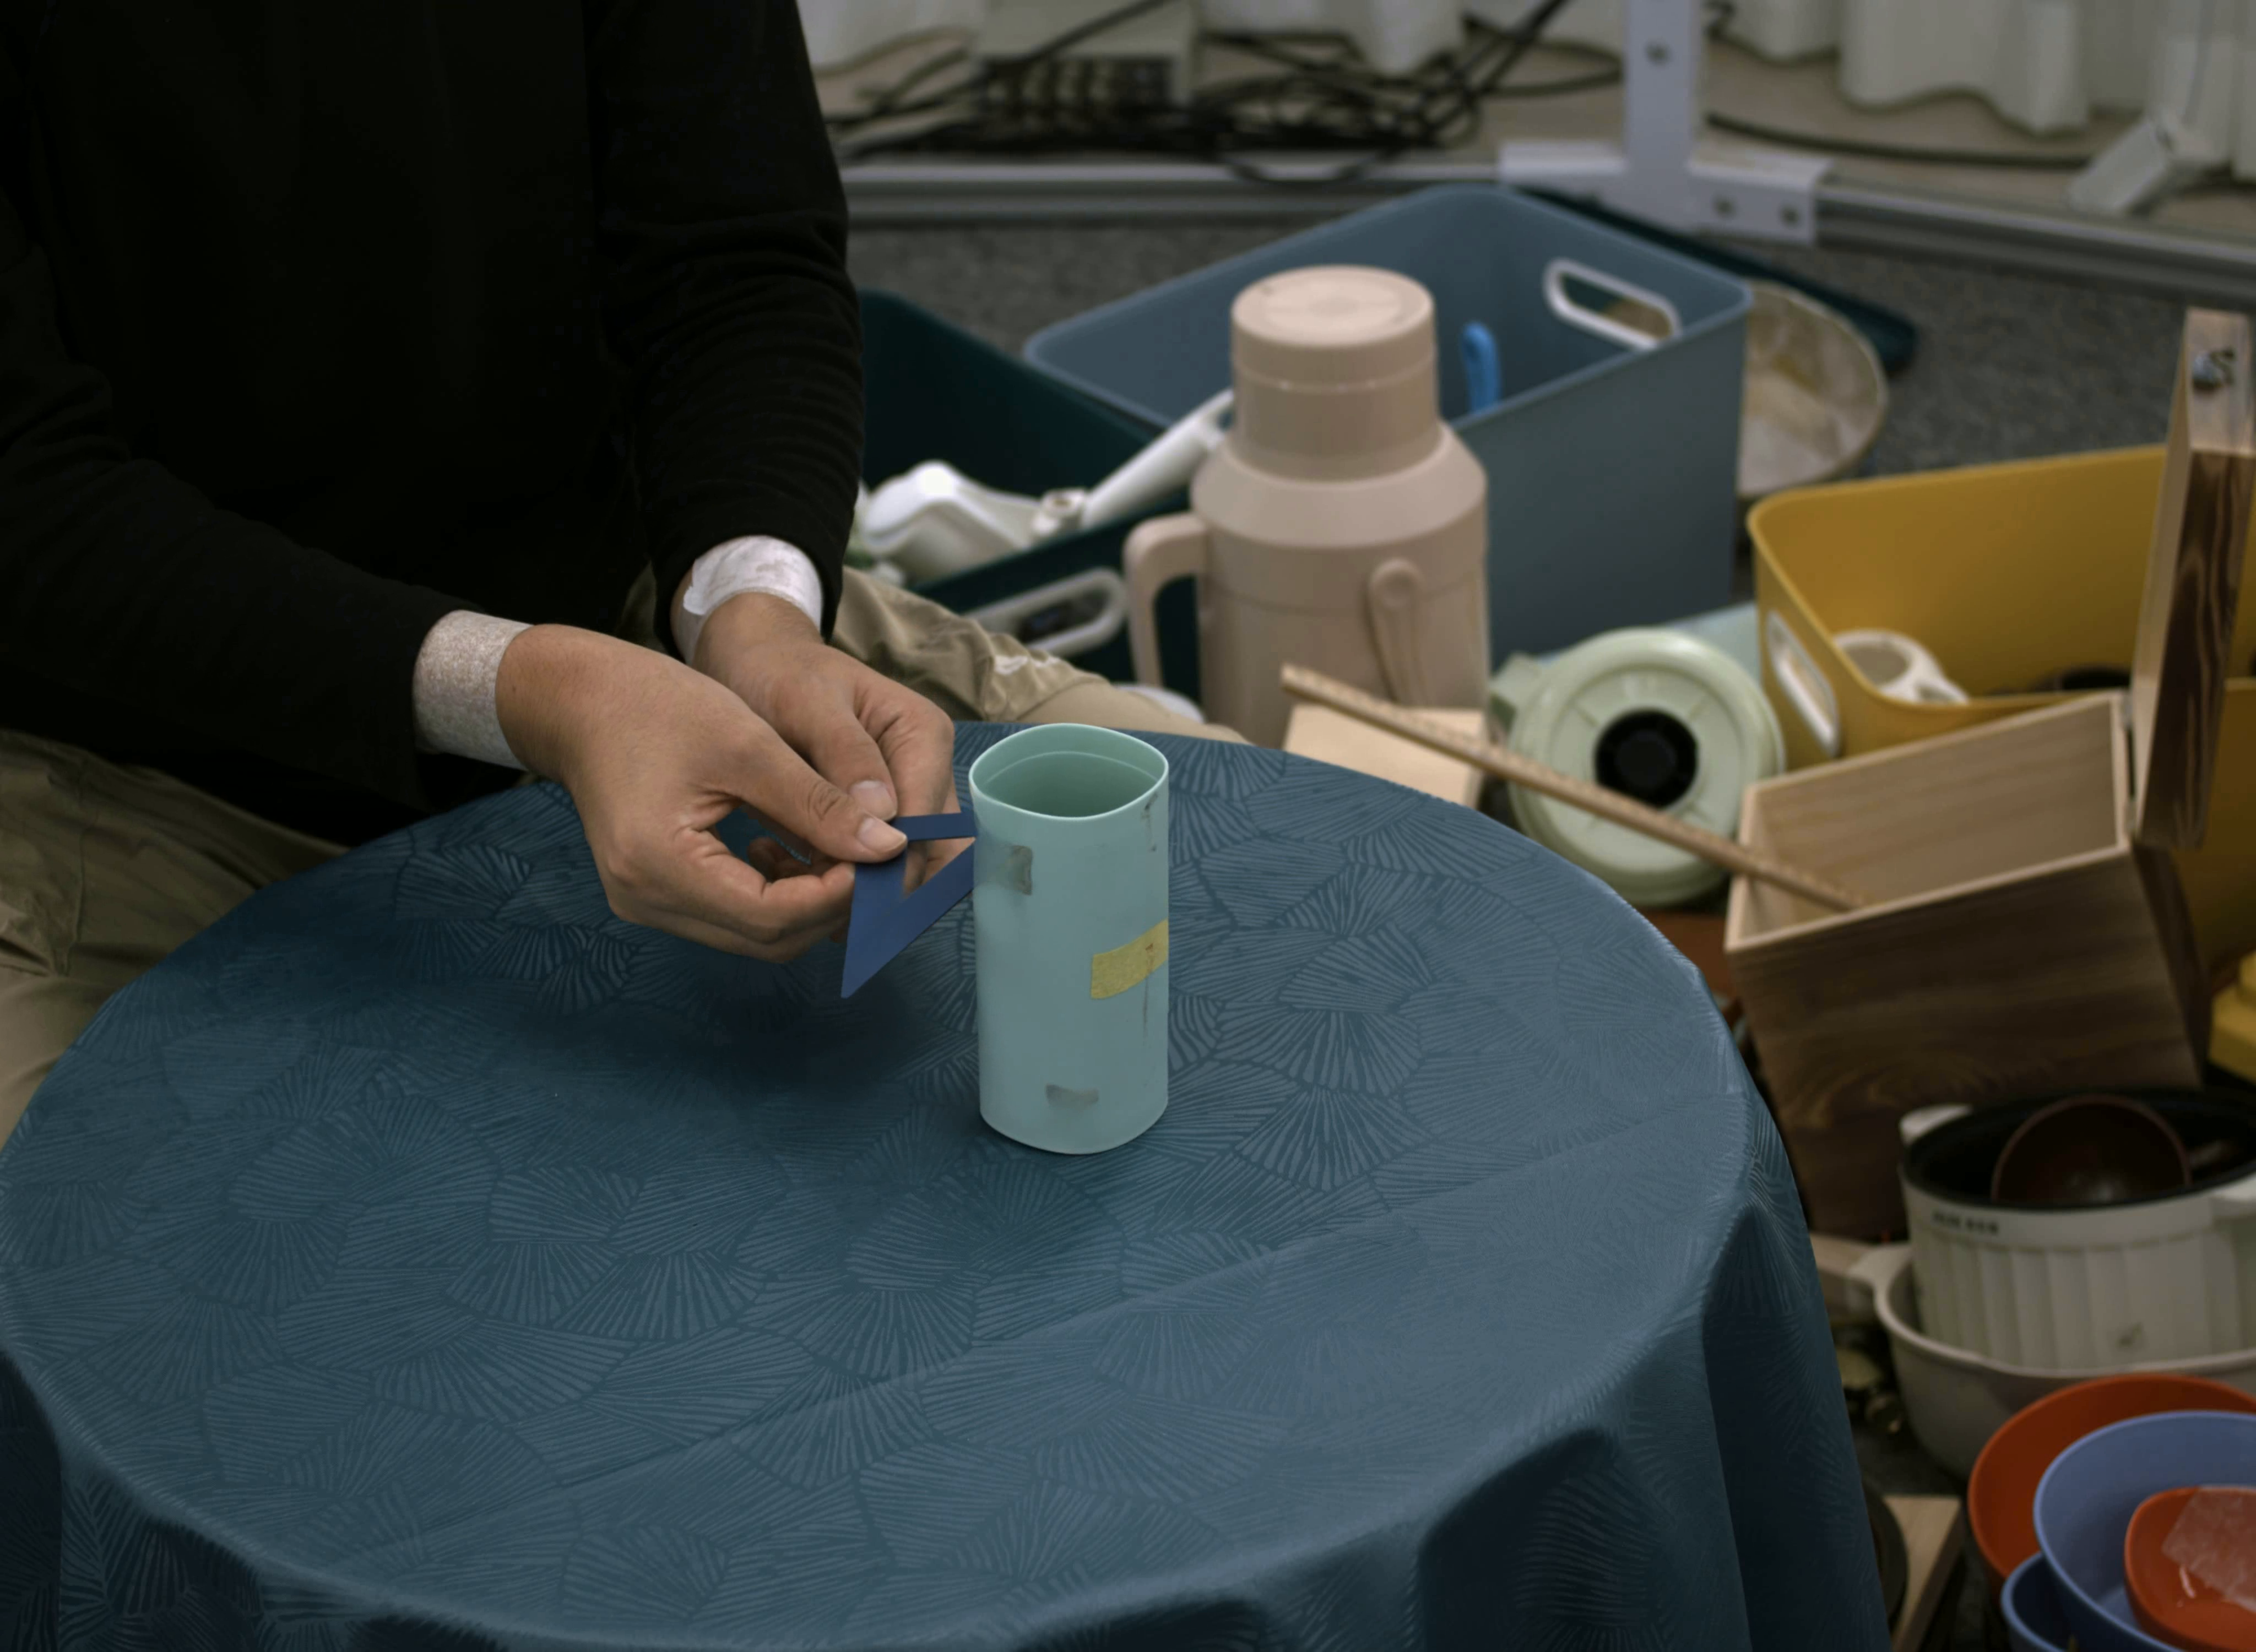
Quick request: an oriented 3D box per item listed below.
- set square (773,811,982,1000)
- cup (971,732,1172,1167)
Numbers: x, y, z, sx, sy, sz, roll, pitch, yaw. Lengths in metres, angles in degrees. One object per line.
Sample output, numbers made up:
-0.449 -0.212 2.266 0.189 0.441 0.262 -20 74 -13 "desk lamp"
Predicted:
-0.092 0.021 1.882 0.061 0.006 0.134 16 35 31 "set square"
-0.020 0.041 1.884 0.066 0.131 0.068 0 28 0 "cup"
